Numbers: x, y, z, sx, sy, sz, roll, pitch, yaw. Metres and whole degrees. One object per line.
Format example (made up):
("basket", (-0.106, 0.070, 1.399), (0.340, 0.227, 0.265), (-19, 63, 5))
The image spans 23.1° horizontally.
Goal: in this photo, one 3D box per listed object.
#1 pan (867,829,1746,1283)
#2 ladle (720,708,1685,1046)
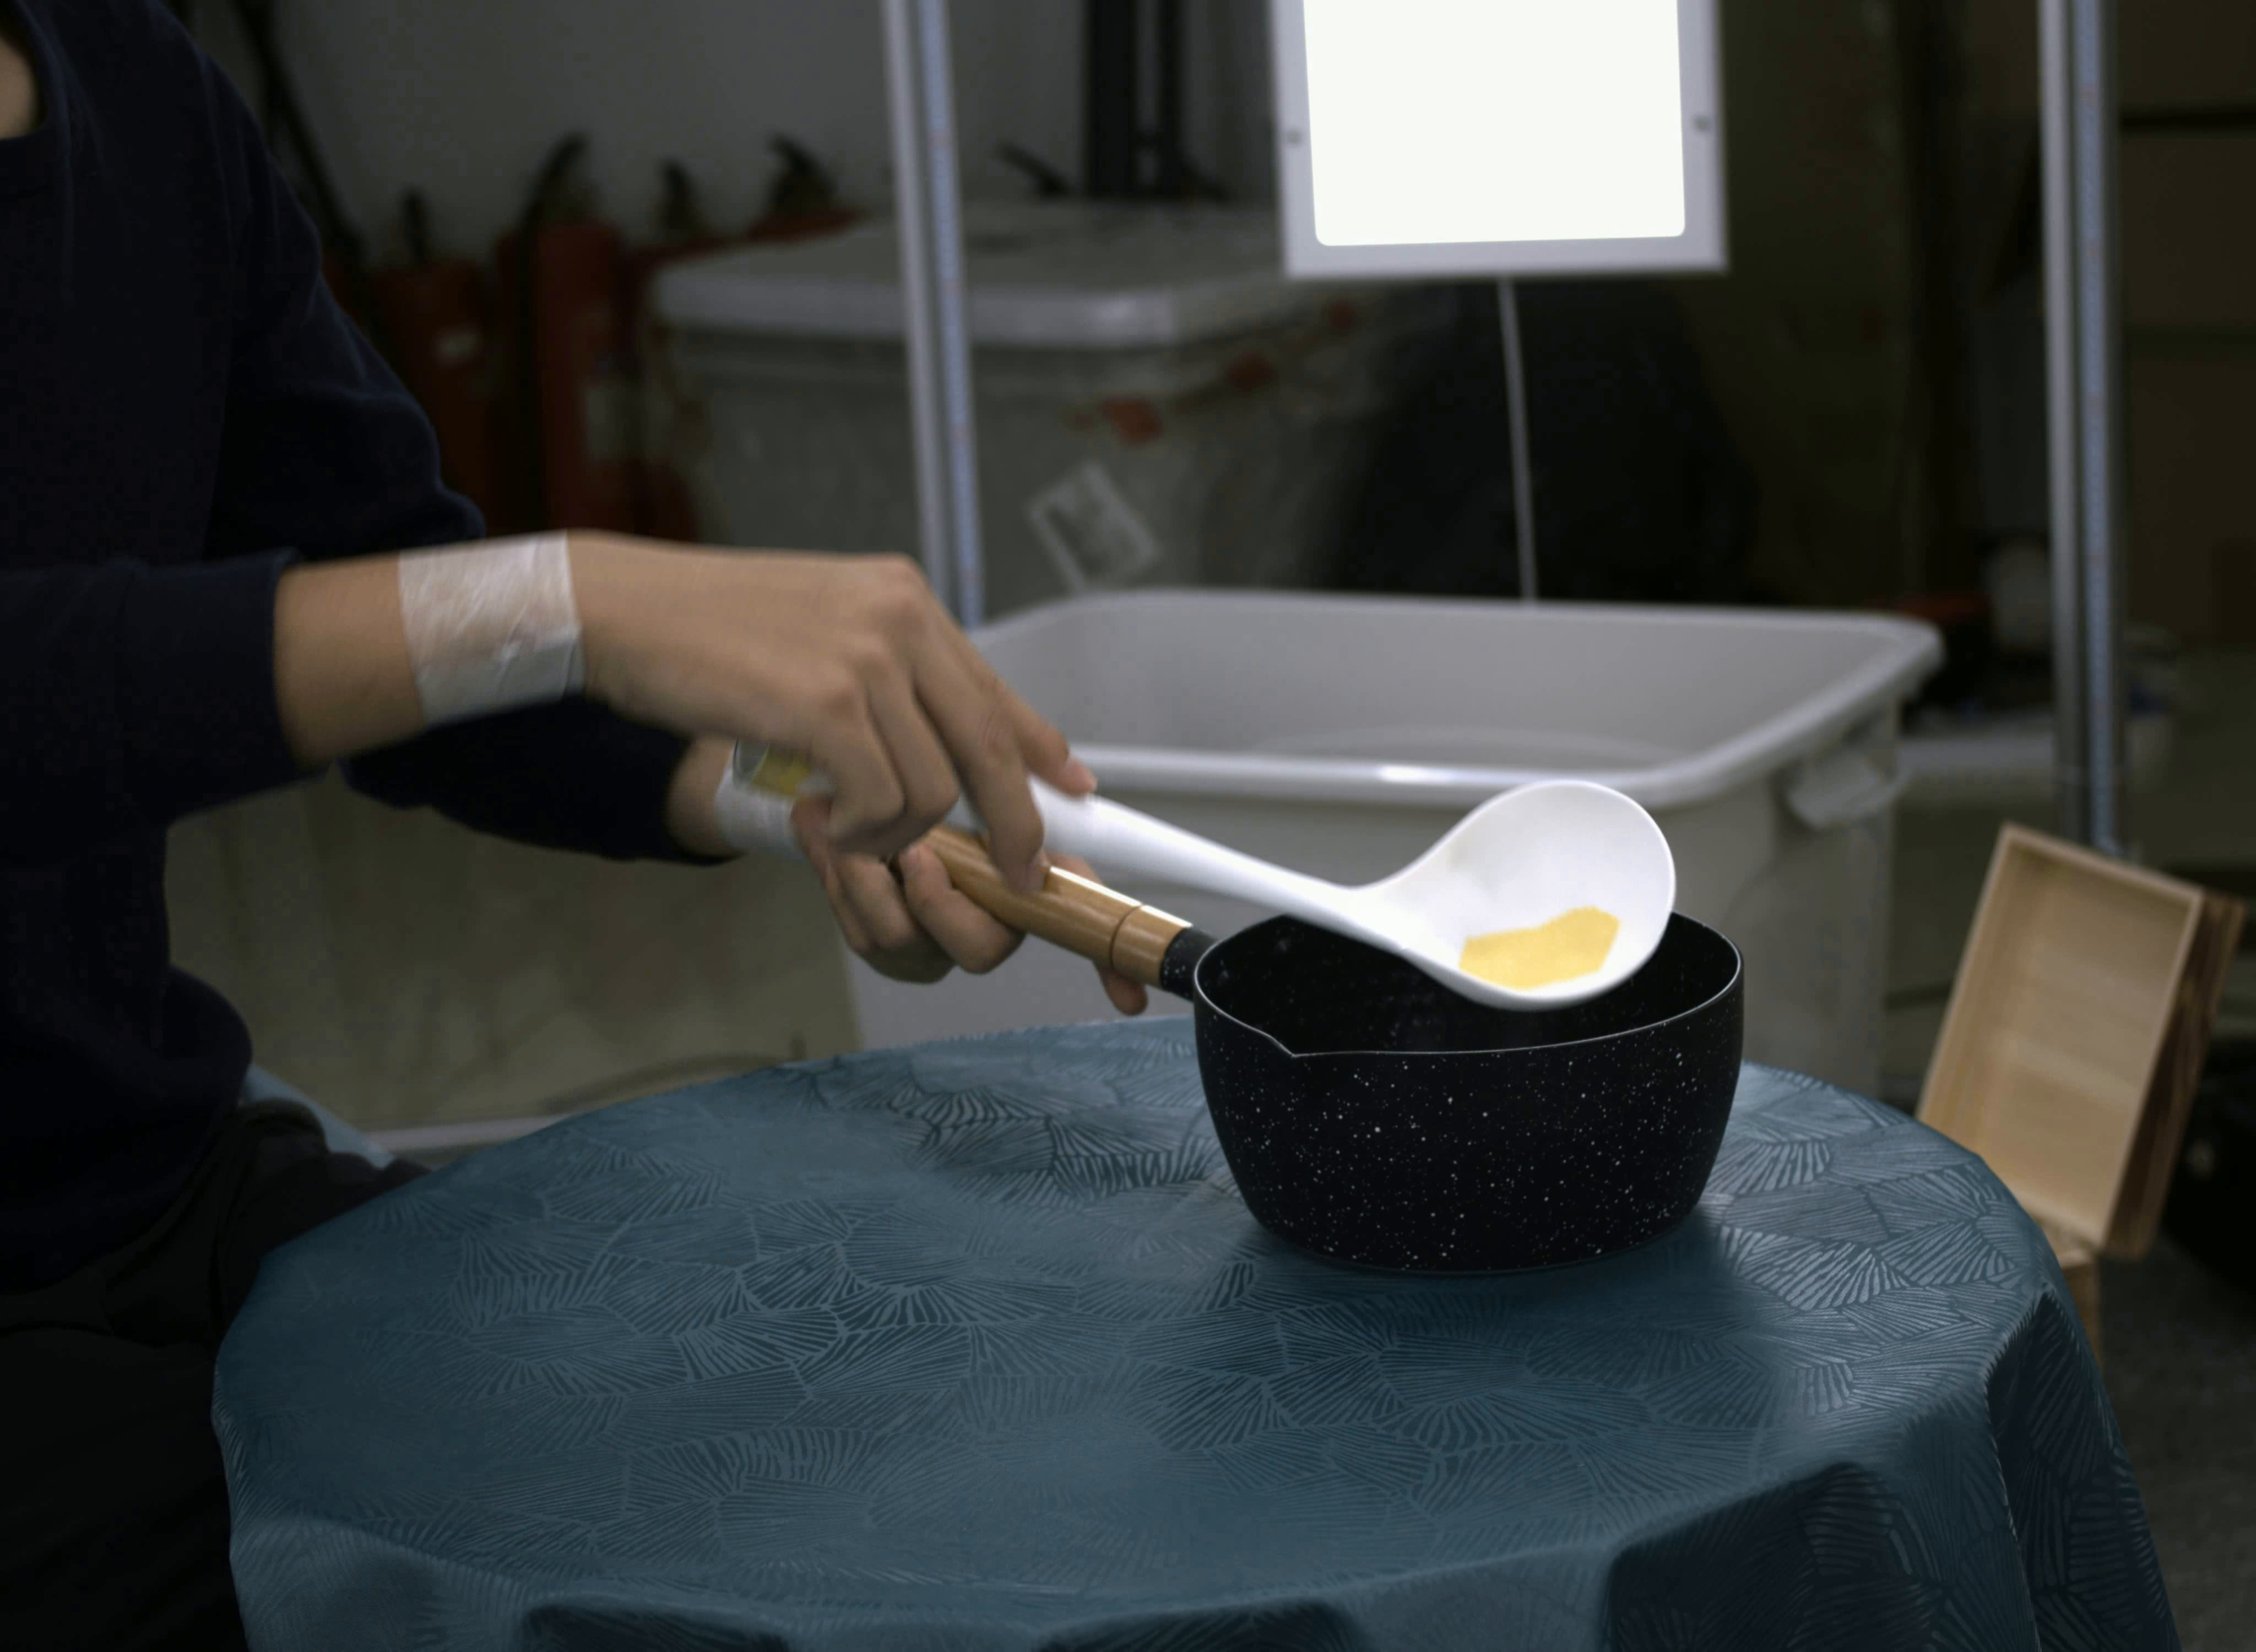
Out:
("pan", (0.049, 0.066, 1.877), (0.349, 0.109, 0.202), (9, 21, 35))
("ladle", (0.025, 0.005, 1.675), (0.289, 0.090, 0.071), (15, -36, -16))
